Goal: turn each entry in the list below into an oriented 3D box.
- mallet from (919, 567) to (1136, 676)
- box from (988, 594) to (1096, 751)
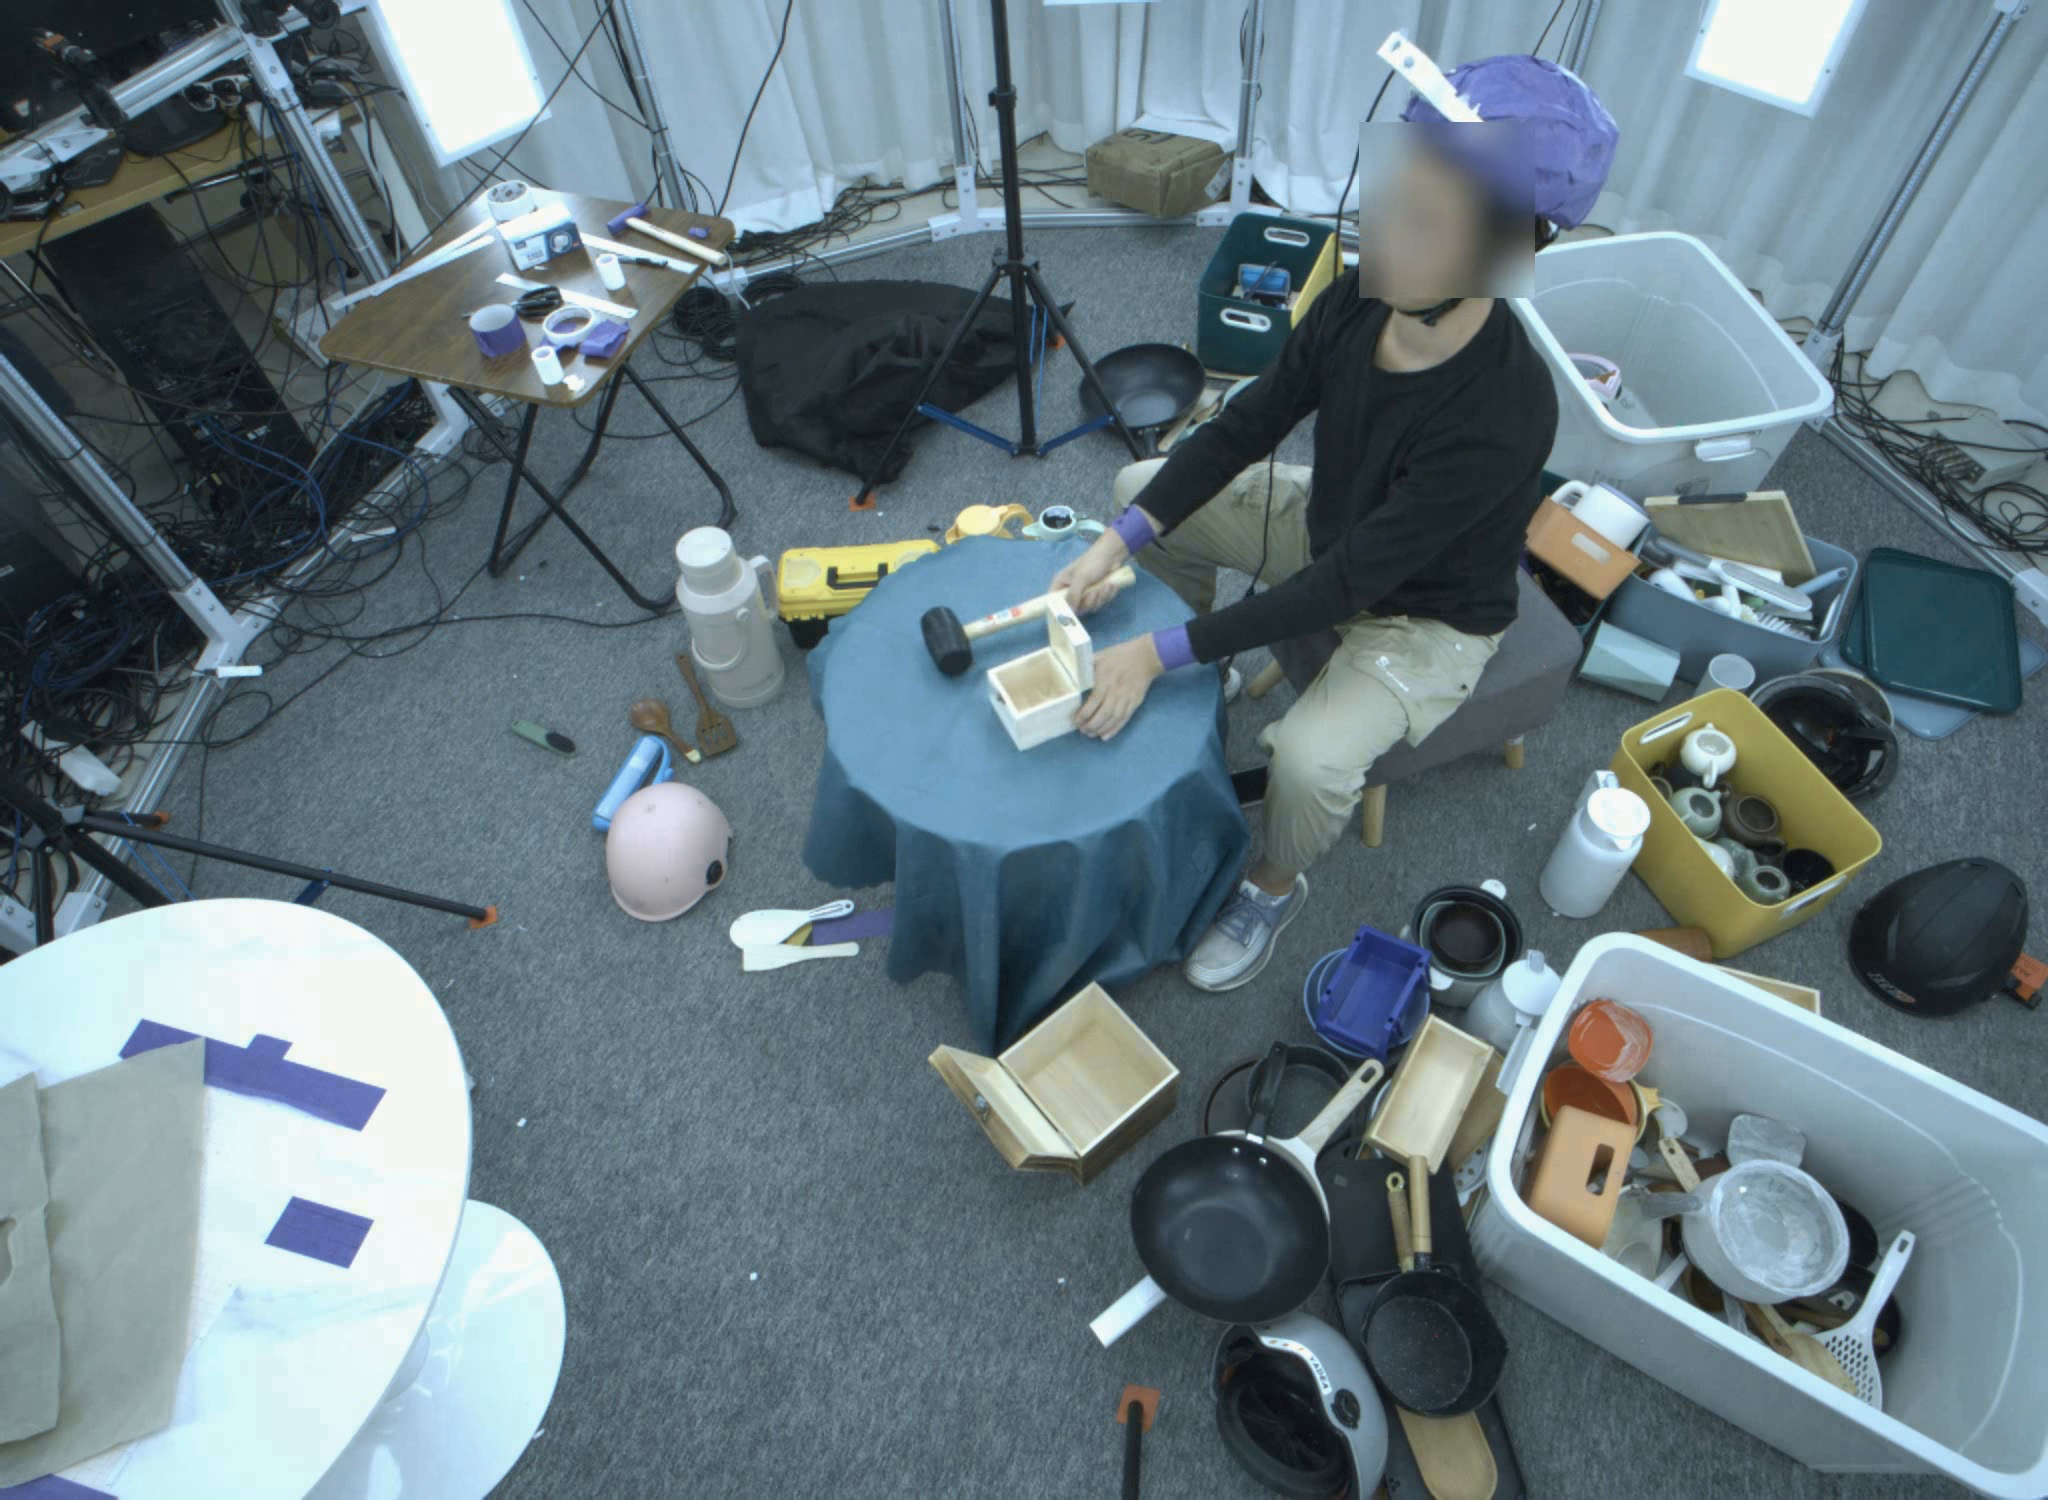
[{"bbox_3d":[0.008,-0.217,1.875,0.340,0.065,0.100,-21,60,-4],"label":"mallet"},{"bbox_3d":[0.022,-0.109,1.749,0.135,0.186,0.101,-22,57,-15],"label":"box"}]
